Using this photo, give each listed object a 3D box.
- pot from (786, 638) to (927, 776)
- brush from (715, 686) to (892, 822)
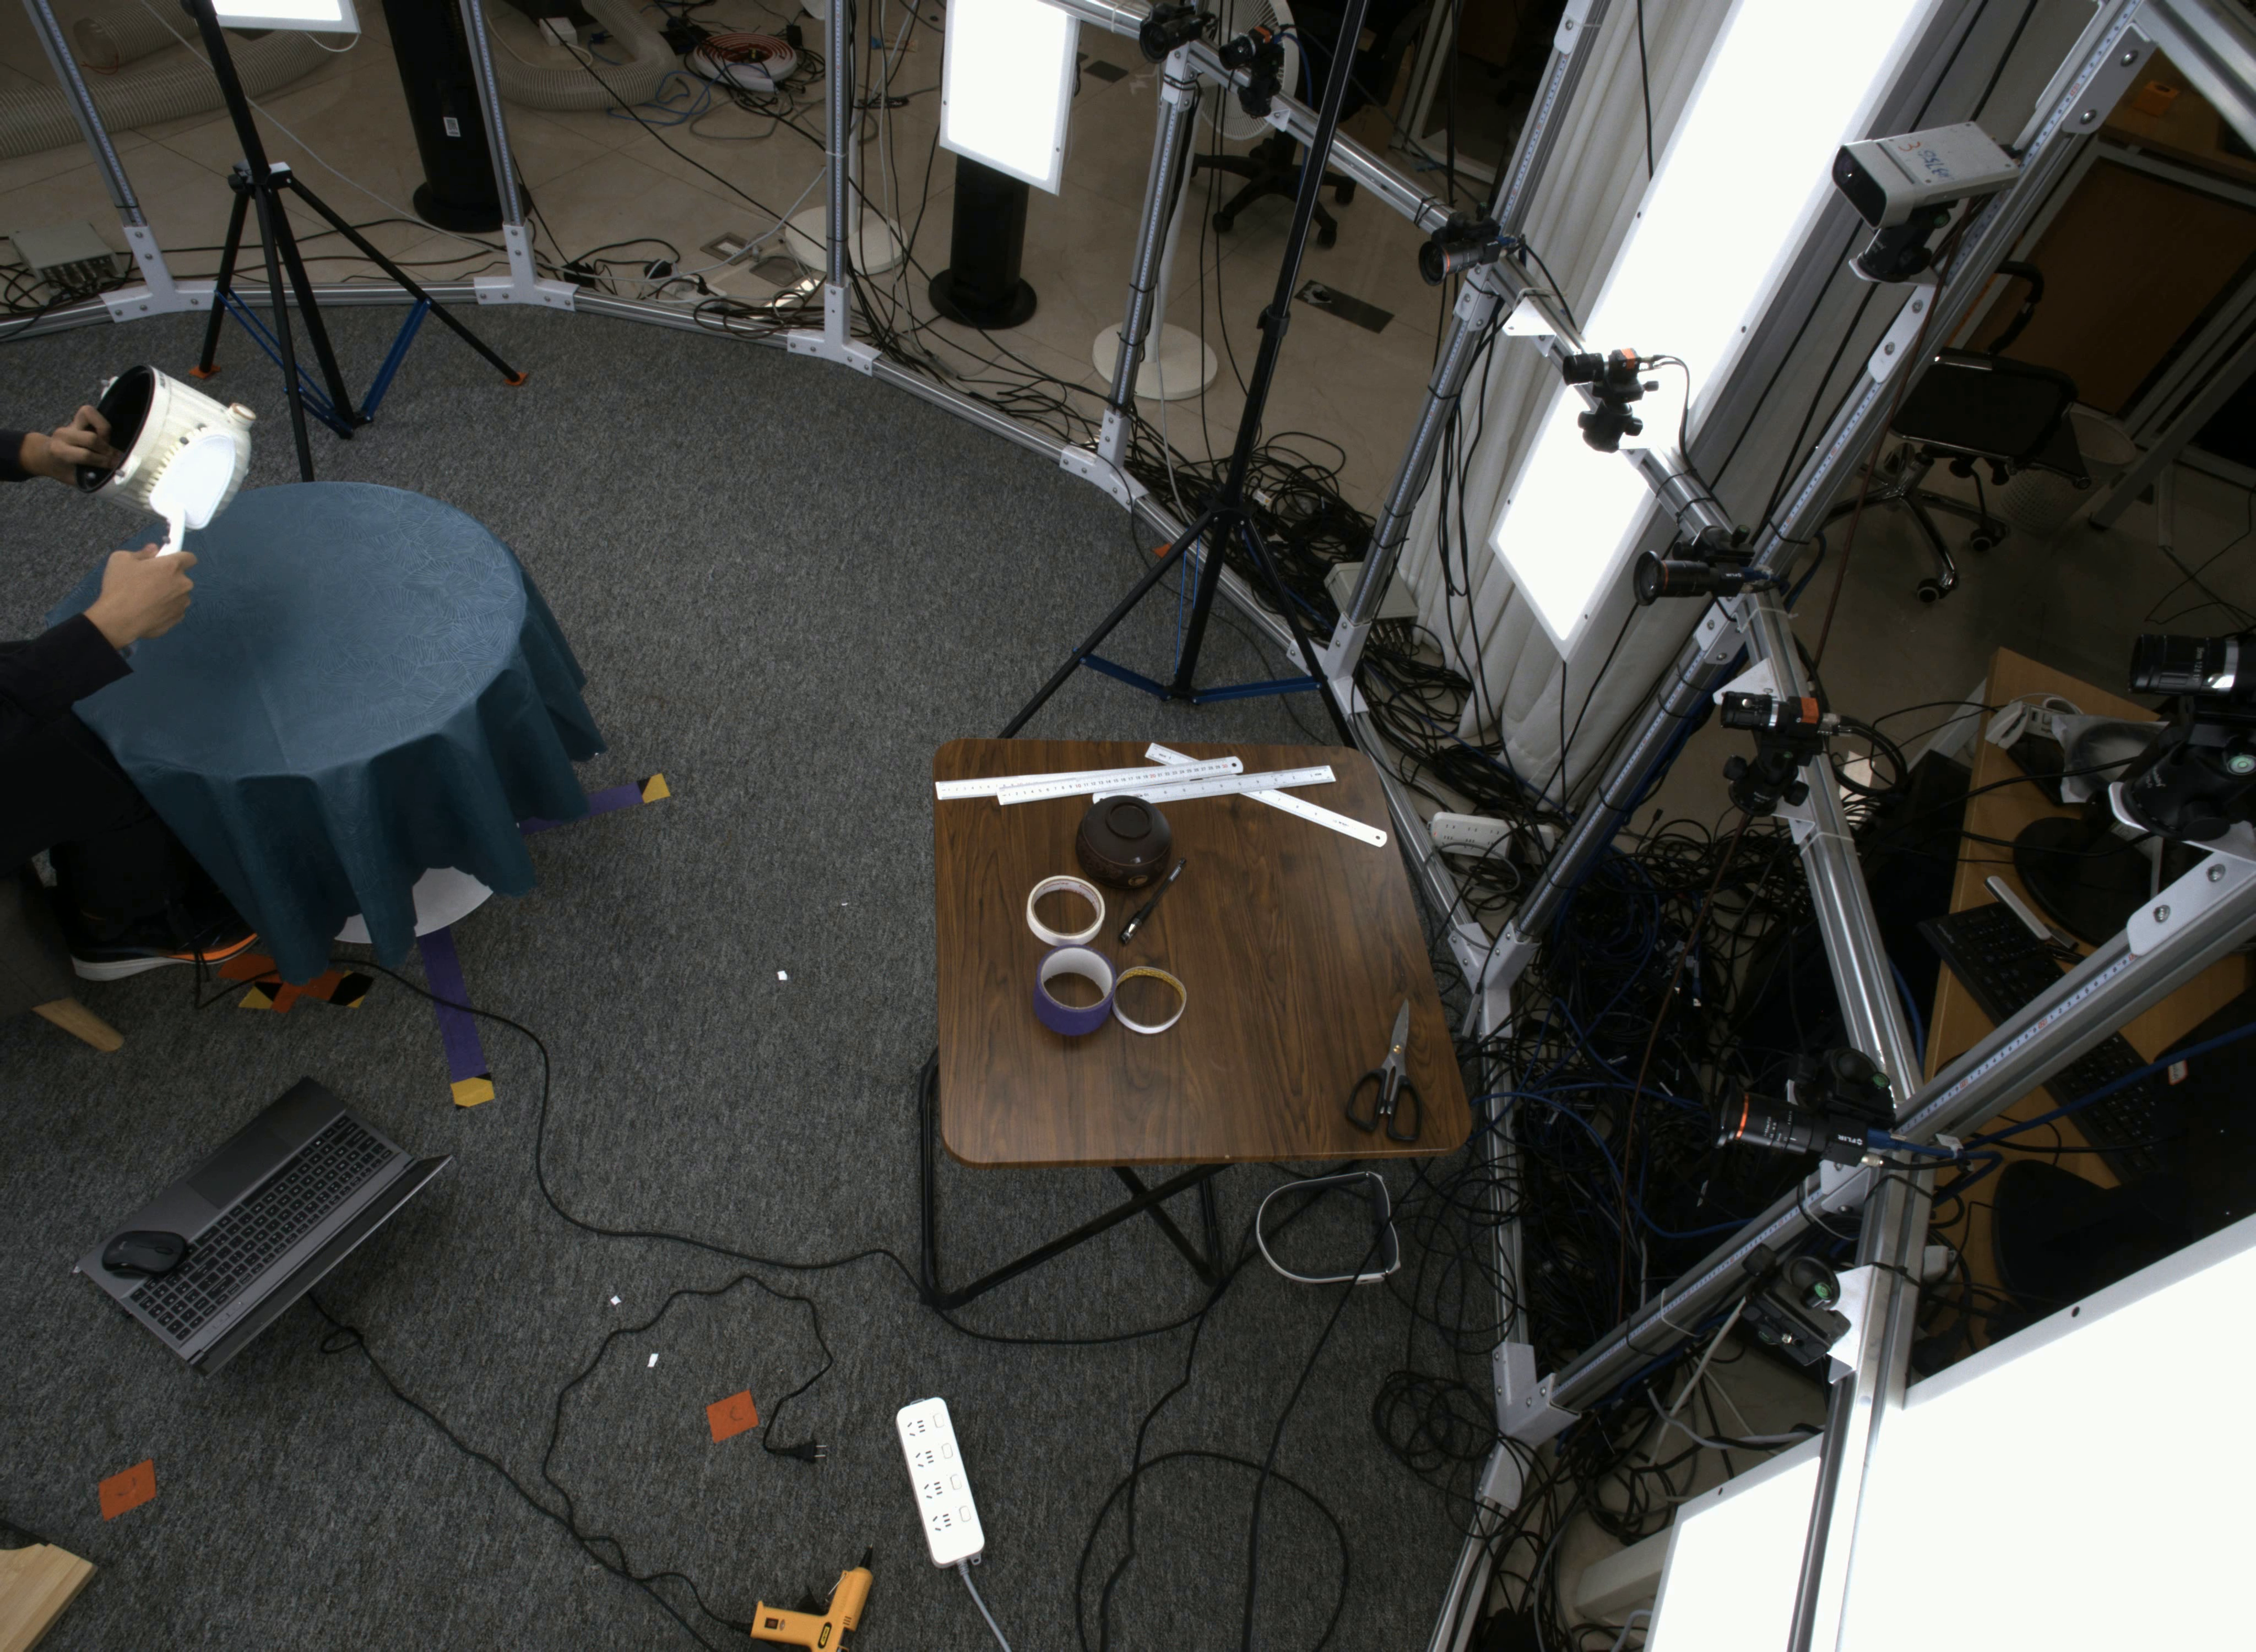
[{"bbox_3d":[-0.427,-0.190,2.065,0.145,0.190,0.236,48,11,-13],"label":"pot"},{"bbox_3d":[-0.482,-0.109,1.901,0.081,0.086,0.325,39,62,18],"label":"brush"}]
